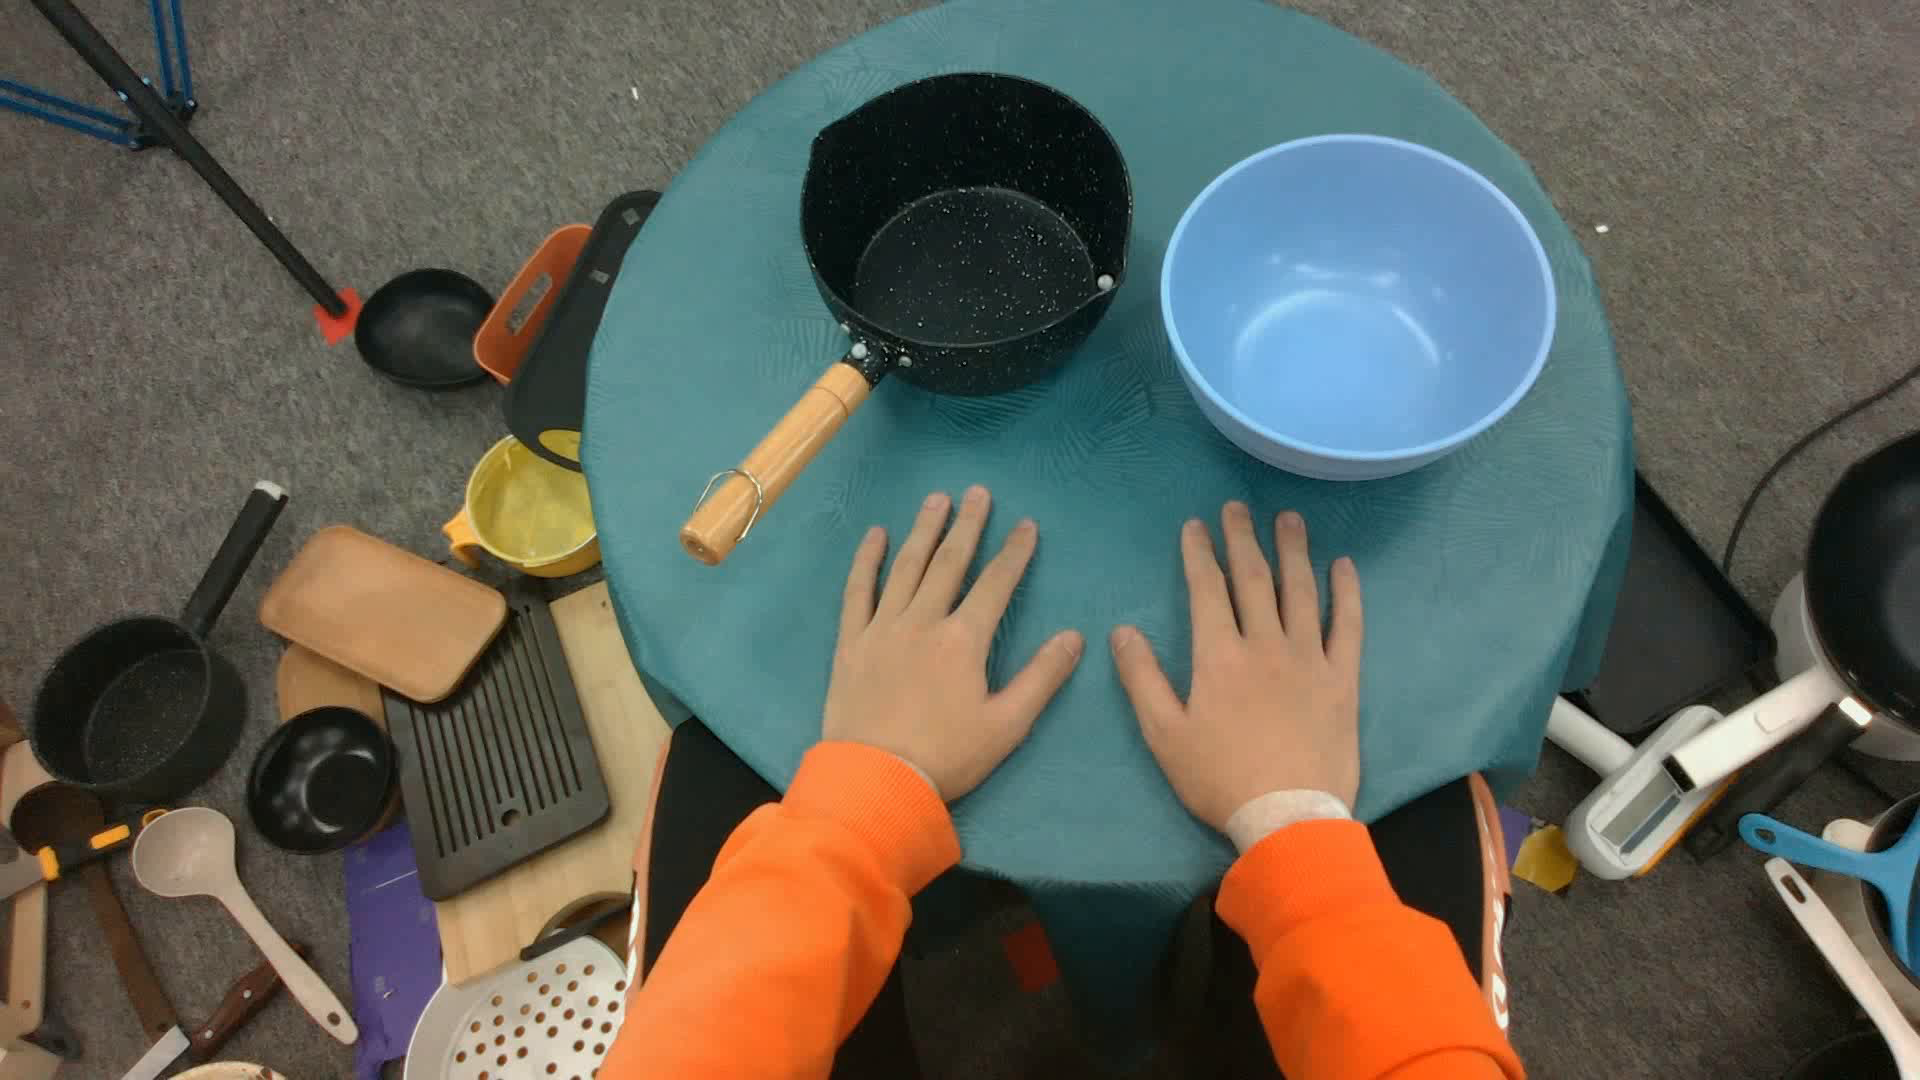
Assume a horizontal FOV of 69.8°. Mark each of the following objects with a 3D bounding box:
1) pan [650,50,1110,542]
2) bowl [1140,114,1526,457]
[{"bbox_3d":[-0.049,-0.120,0.757,0.207,0.108,0.344,28,70,13],"label":"pan"},{"bbox_3d":[0.193,-0.123,0.750,0.196,0.095,0.197,-1,66,2],"label":"bowl"}]
